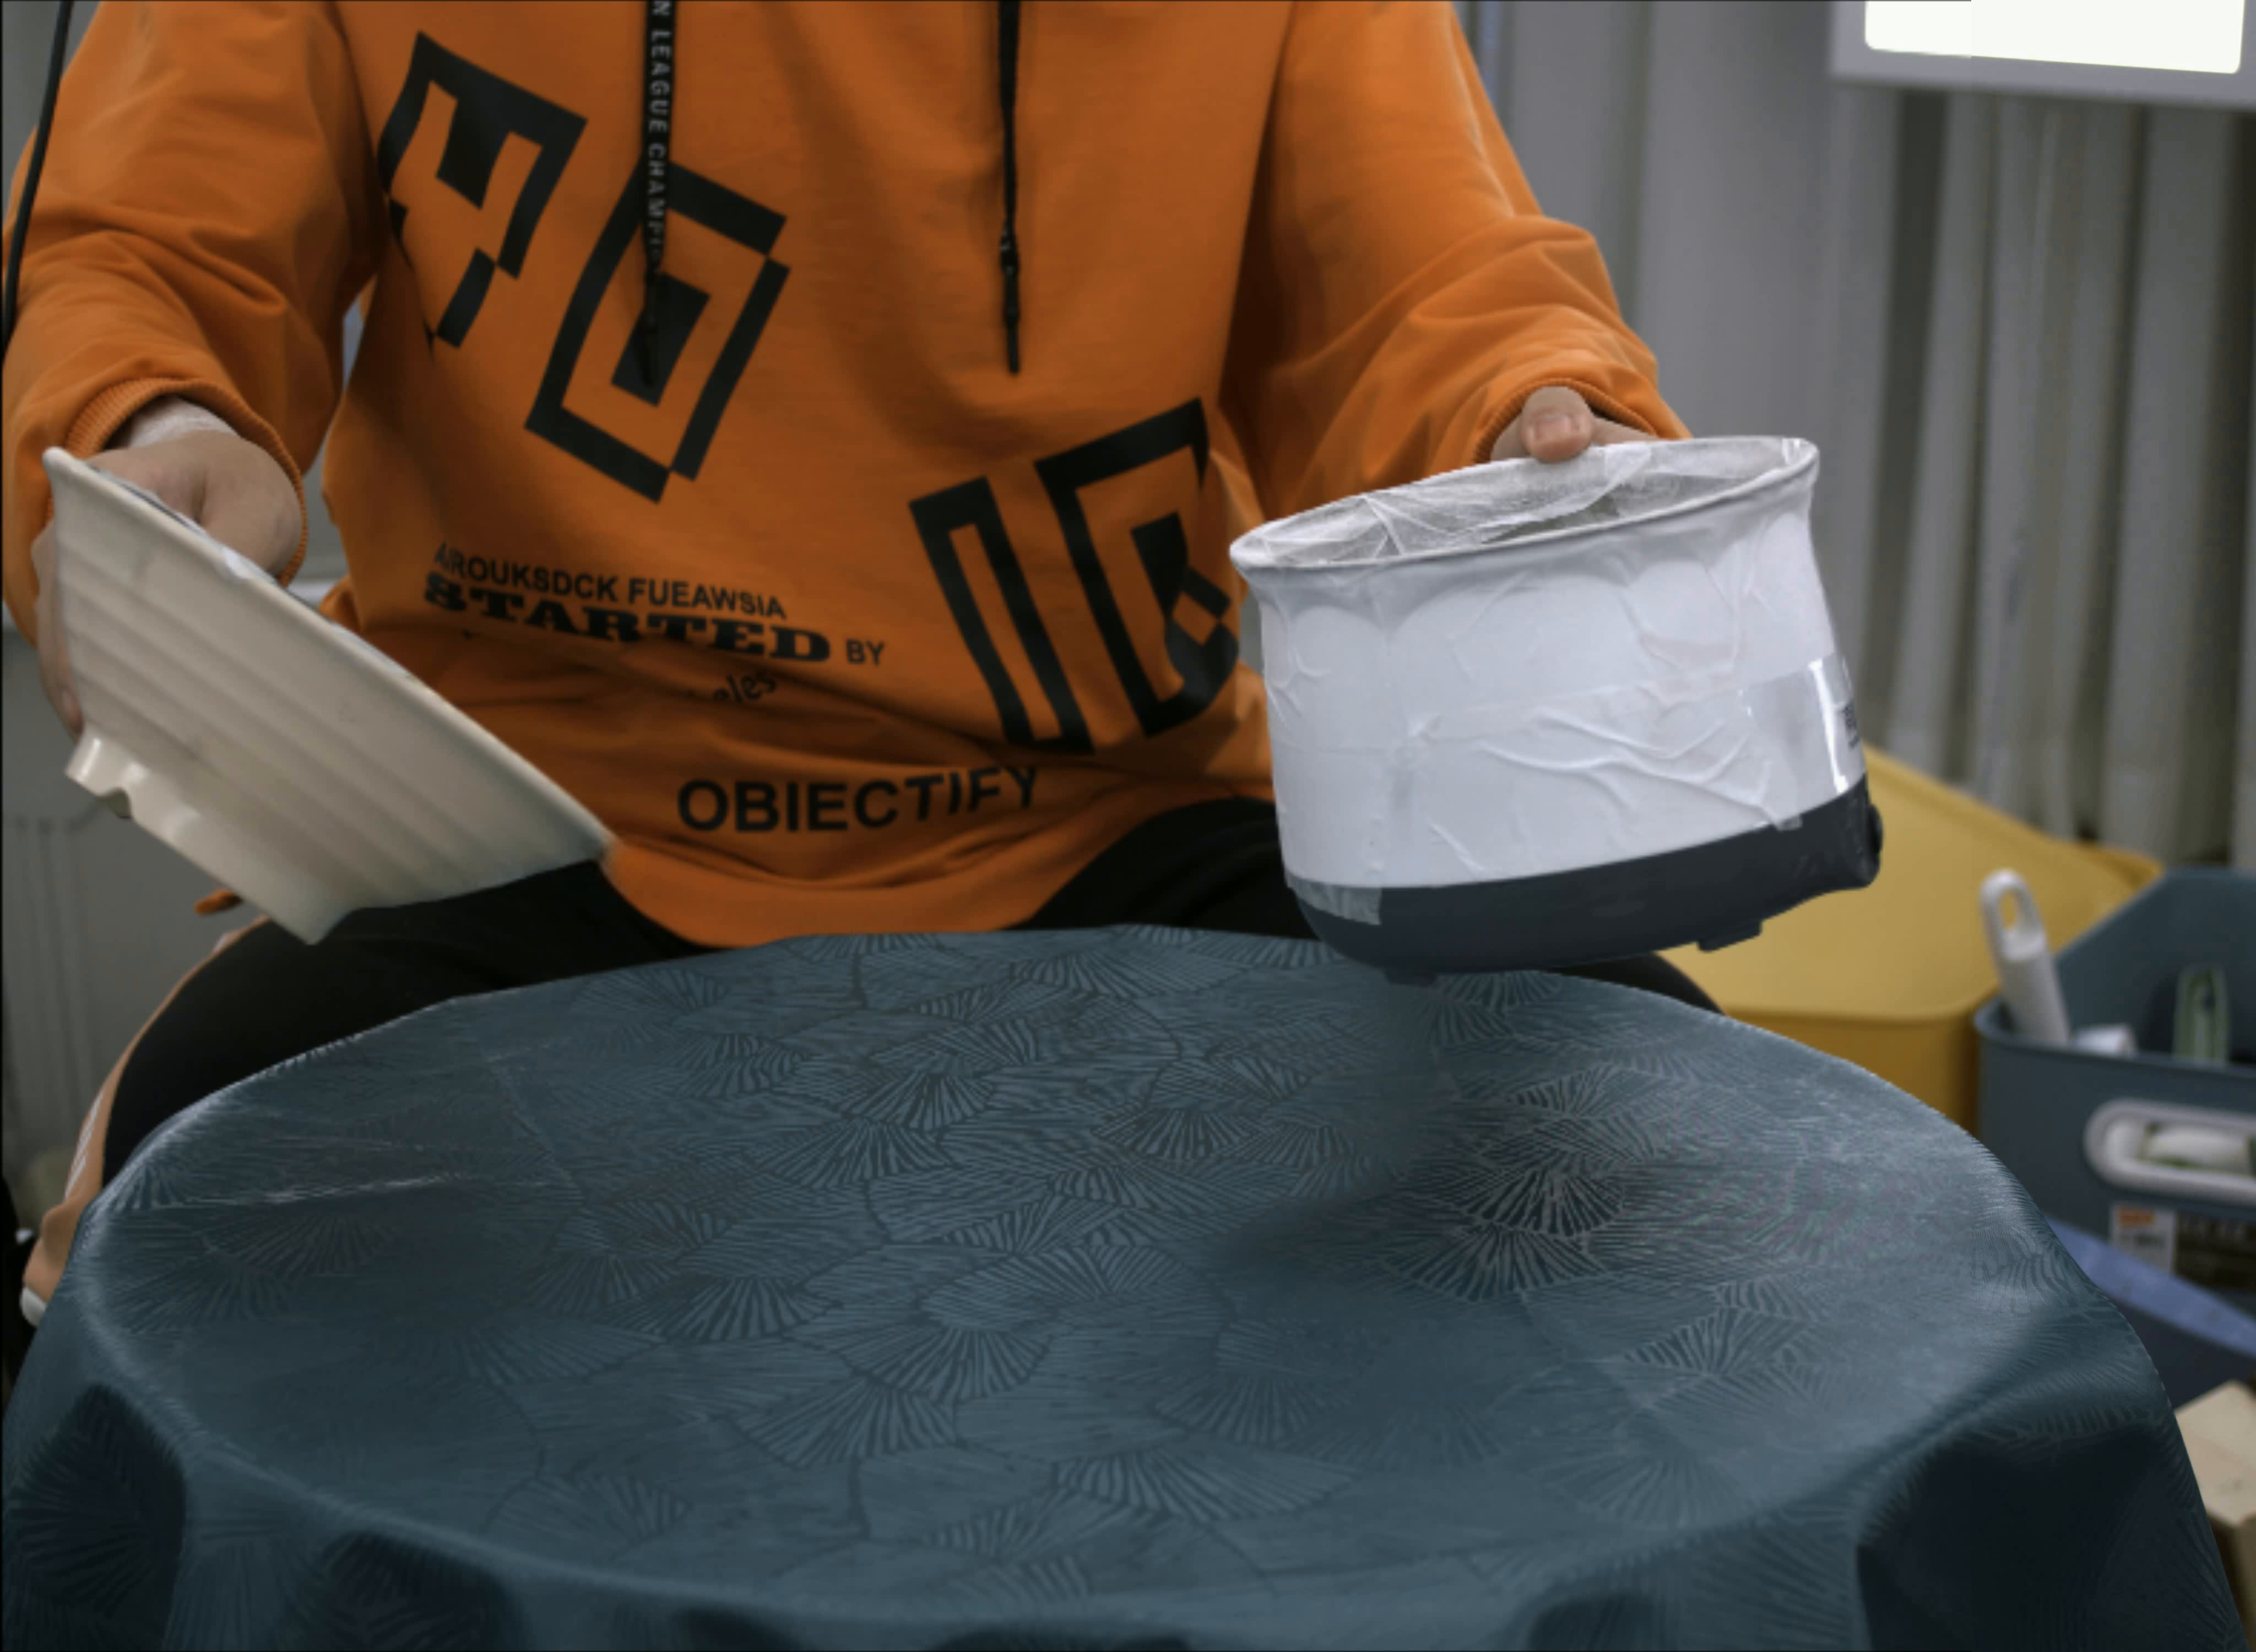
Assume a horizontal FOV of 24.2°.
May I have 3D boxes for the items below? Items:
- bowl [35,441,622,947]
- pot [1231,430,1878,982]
[{"bbox_3d":[-0.250,-0.021,1.517,0.203,0.078,0.205,33,-8,6],"label":"bowl"},{"bbox_3d":[0.133,-0.042,1.594,0.177,0.137,0.233,-7,11,13],"label":"pot"}]
